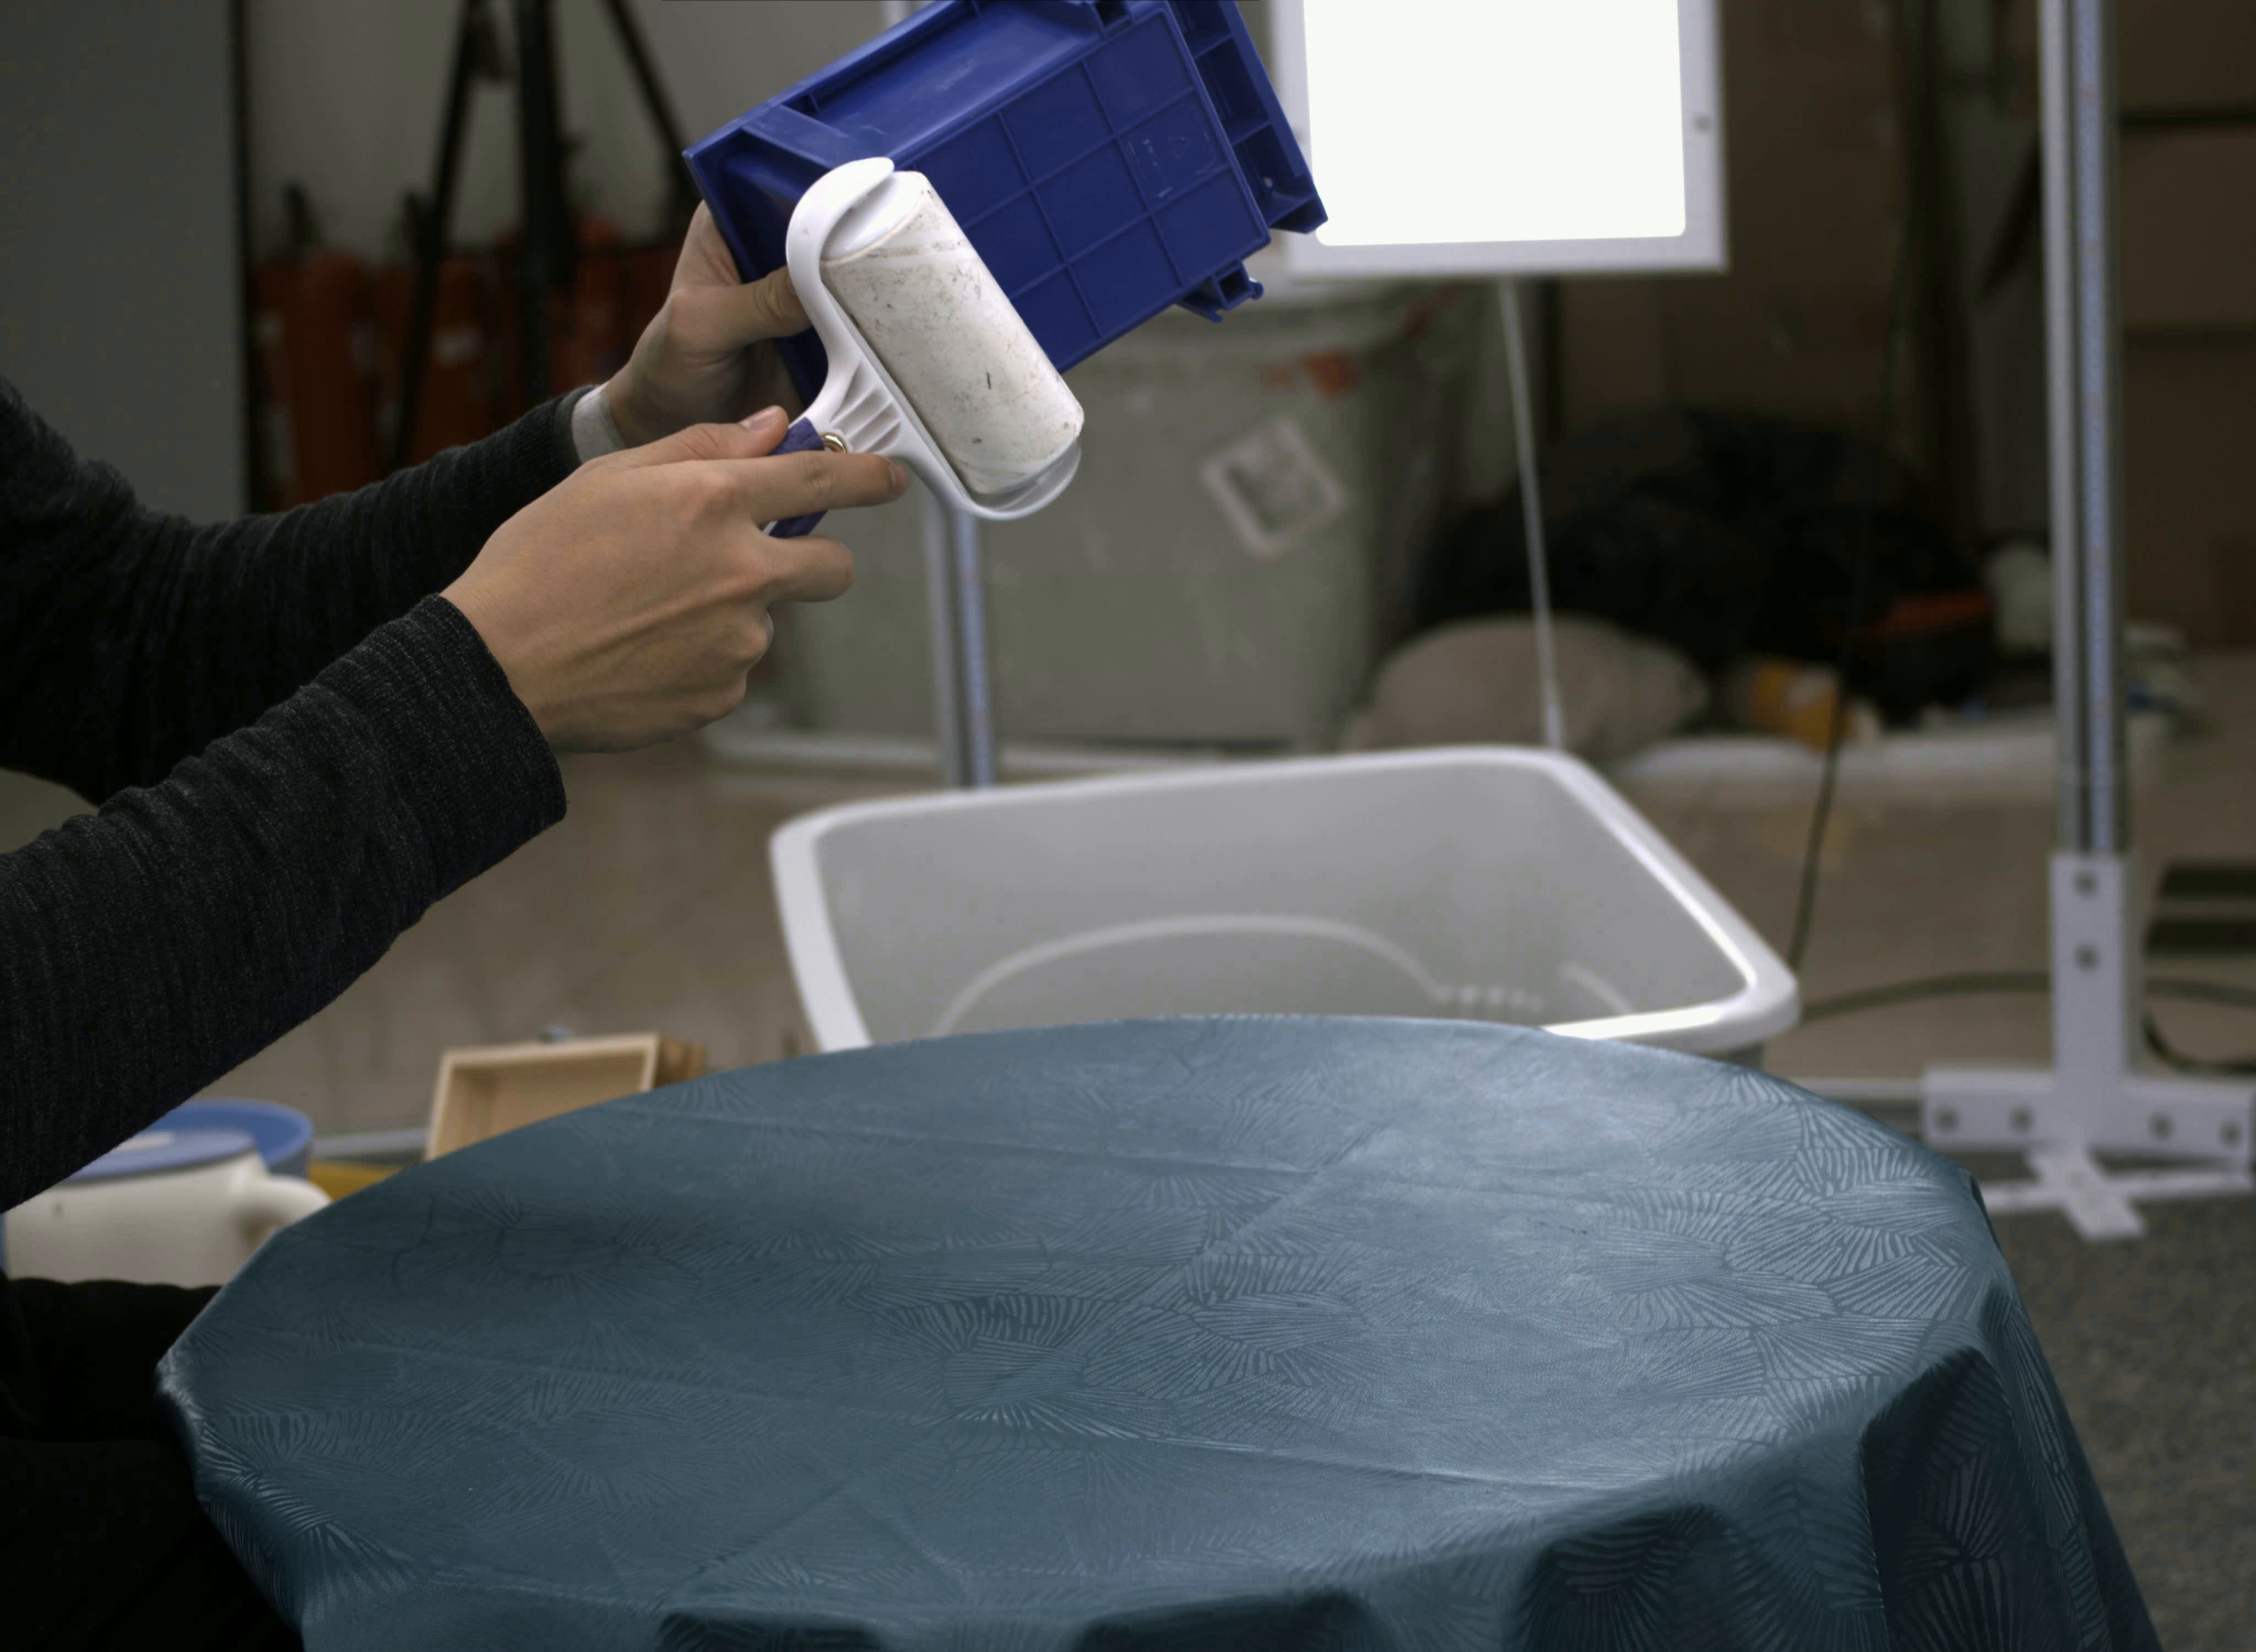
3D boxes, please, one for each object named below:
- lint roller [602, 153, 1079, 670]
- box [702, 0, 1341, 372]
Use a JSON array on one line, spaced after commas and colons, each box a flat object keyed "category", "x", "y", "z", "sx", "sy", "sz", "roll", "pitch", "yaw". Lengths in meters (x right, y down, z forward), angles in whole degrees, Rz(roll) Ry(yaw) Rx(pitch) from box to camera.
[{"category": "lint roller", "x": -0.099, "y": -0.116, "z": 1.755, "sx": 0.051, "sy": 0.132, "sz": 0.178, "roll": 8, "pitch": 49, "yaw": 50}, {"category": "box", "x": -0.029, "y": -0.218, "z": 1.850, "sx": 0.177, "sy": 0.124, "sz": 0.083, "roll": -35, "pitch": 27, "yaw": -14}]
